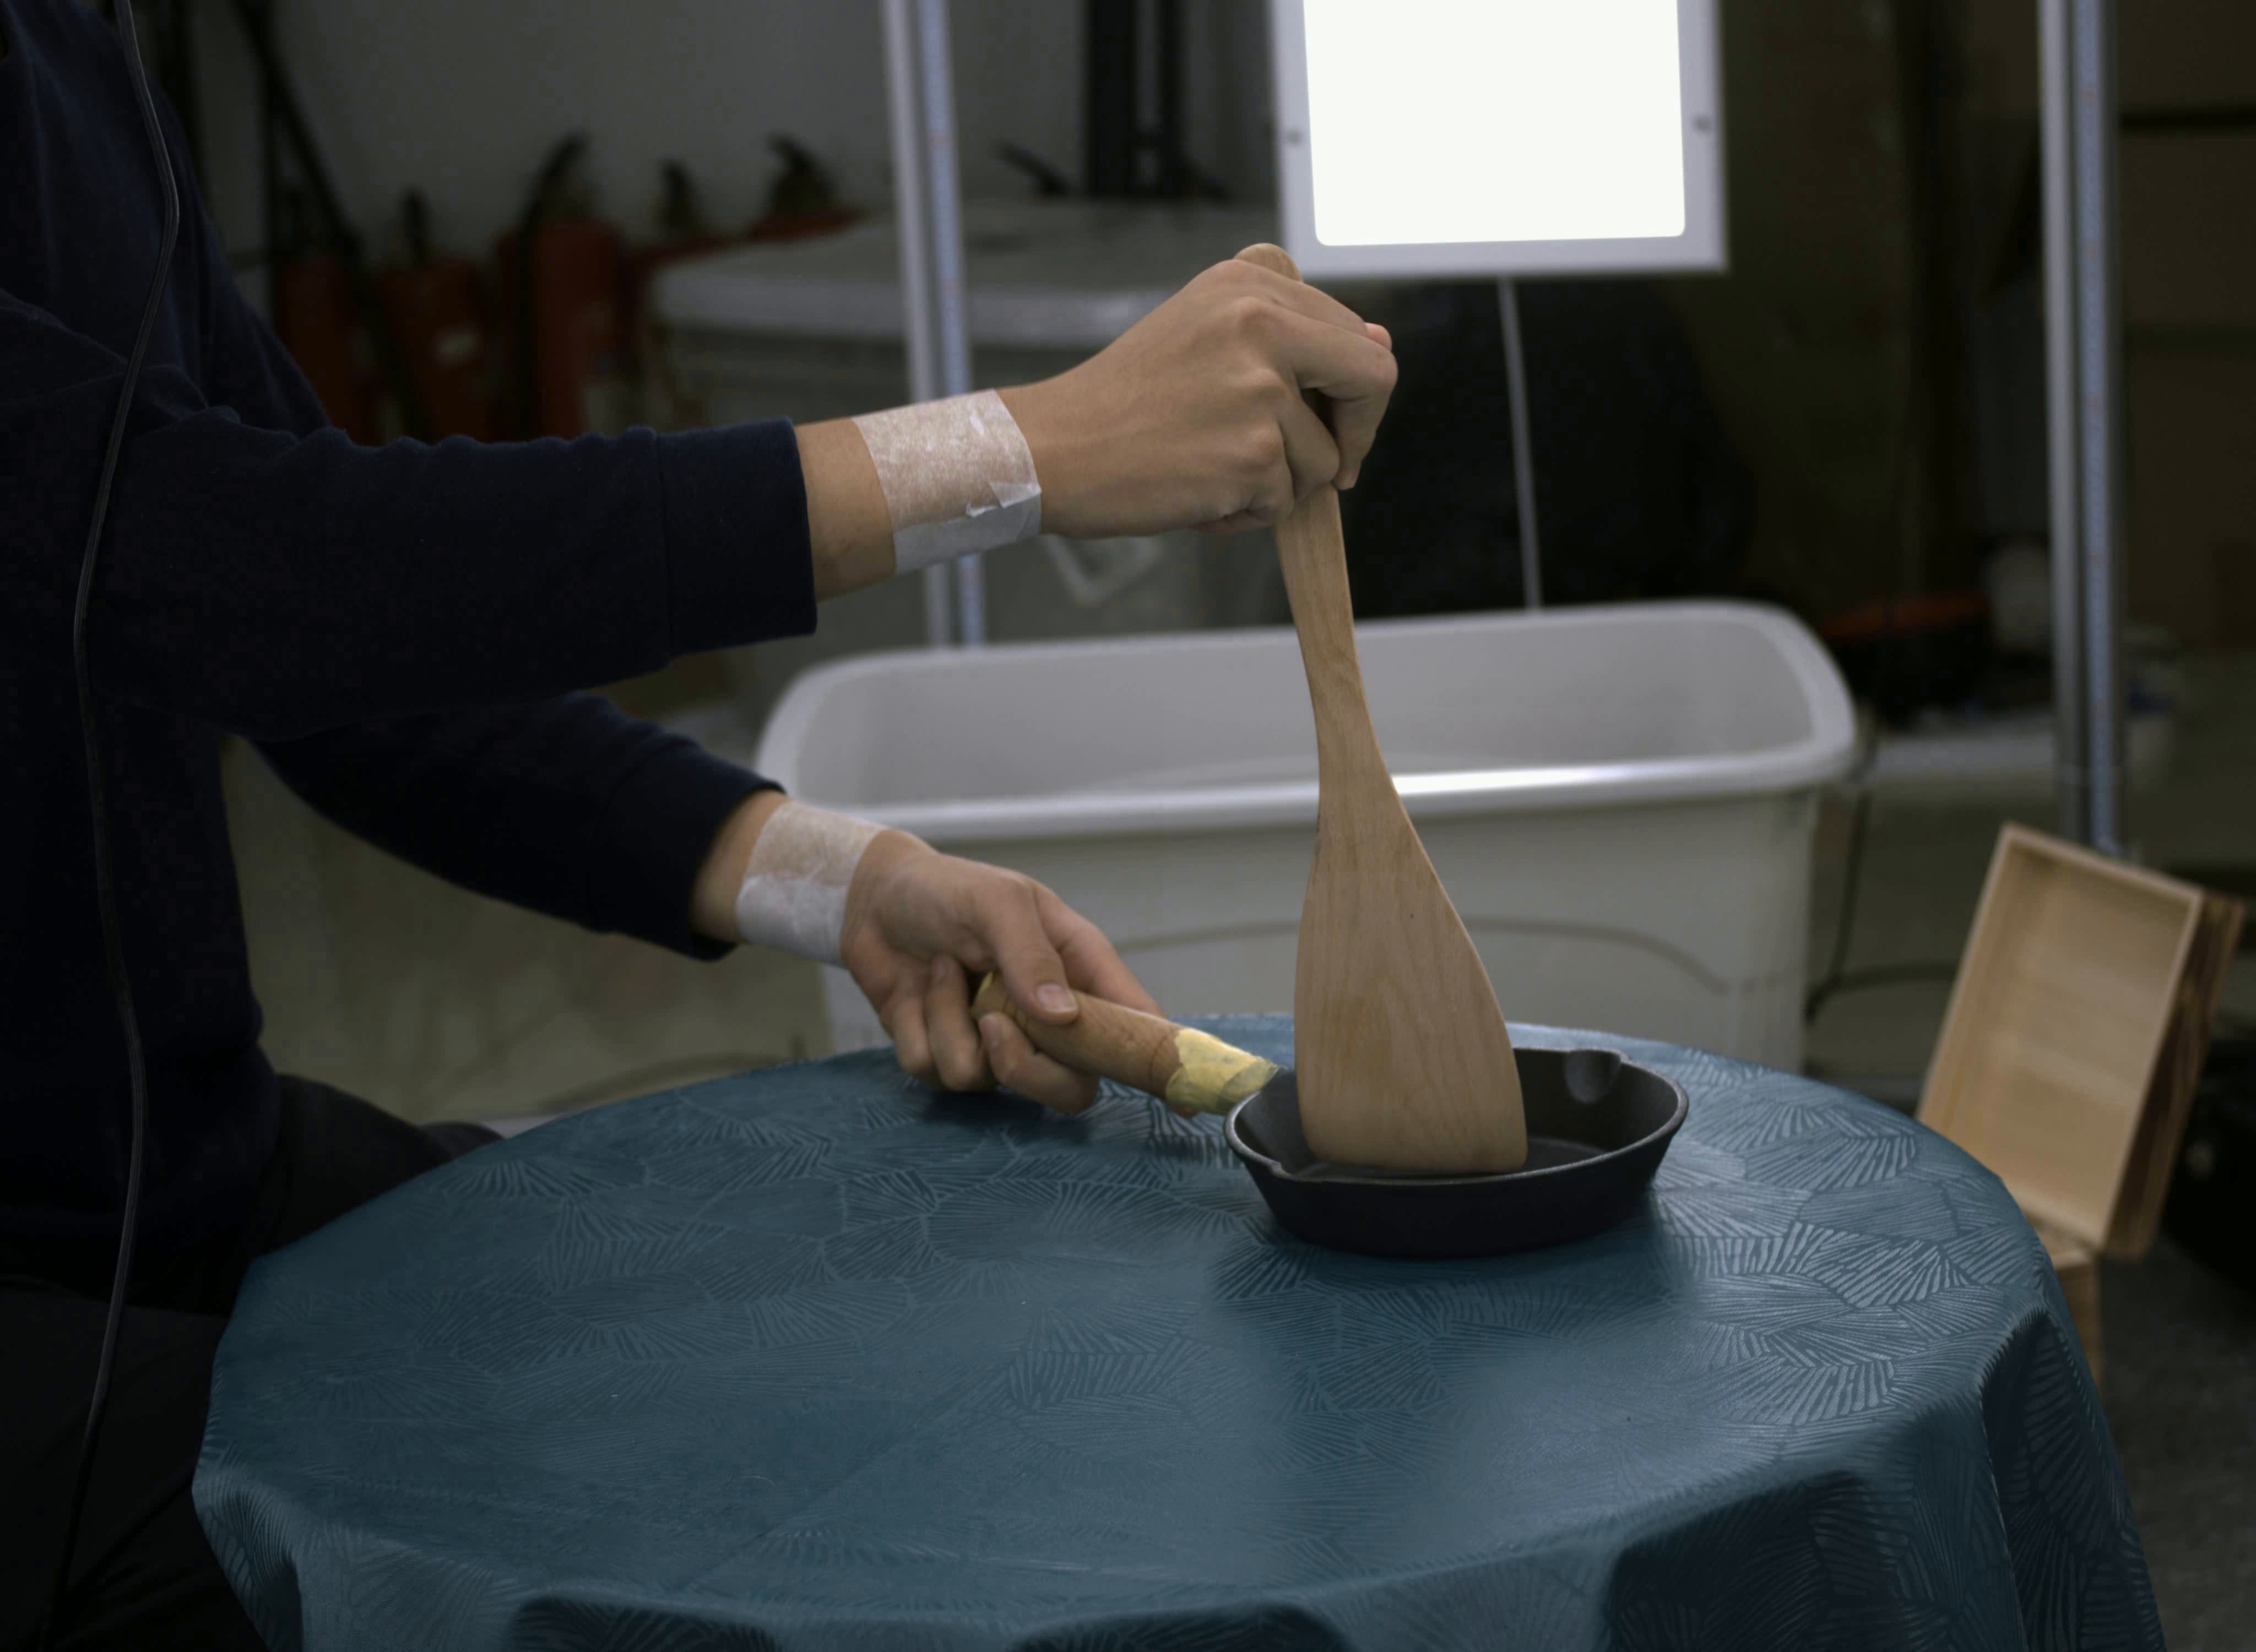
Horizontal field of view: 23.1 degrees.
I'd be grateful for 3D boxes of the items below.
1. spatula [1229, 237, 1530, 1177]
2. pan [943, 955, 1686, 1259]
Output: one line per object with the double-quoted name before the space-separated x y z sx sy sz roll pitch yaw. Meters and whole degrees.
"spatula" 0.073 -0.035 1.852 0.080 0.328 0.016 -8 7 13
"pan" 0.052 0.092 1.911 0.164 0.050 0.331 -17 19 -40
